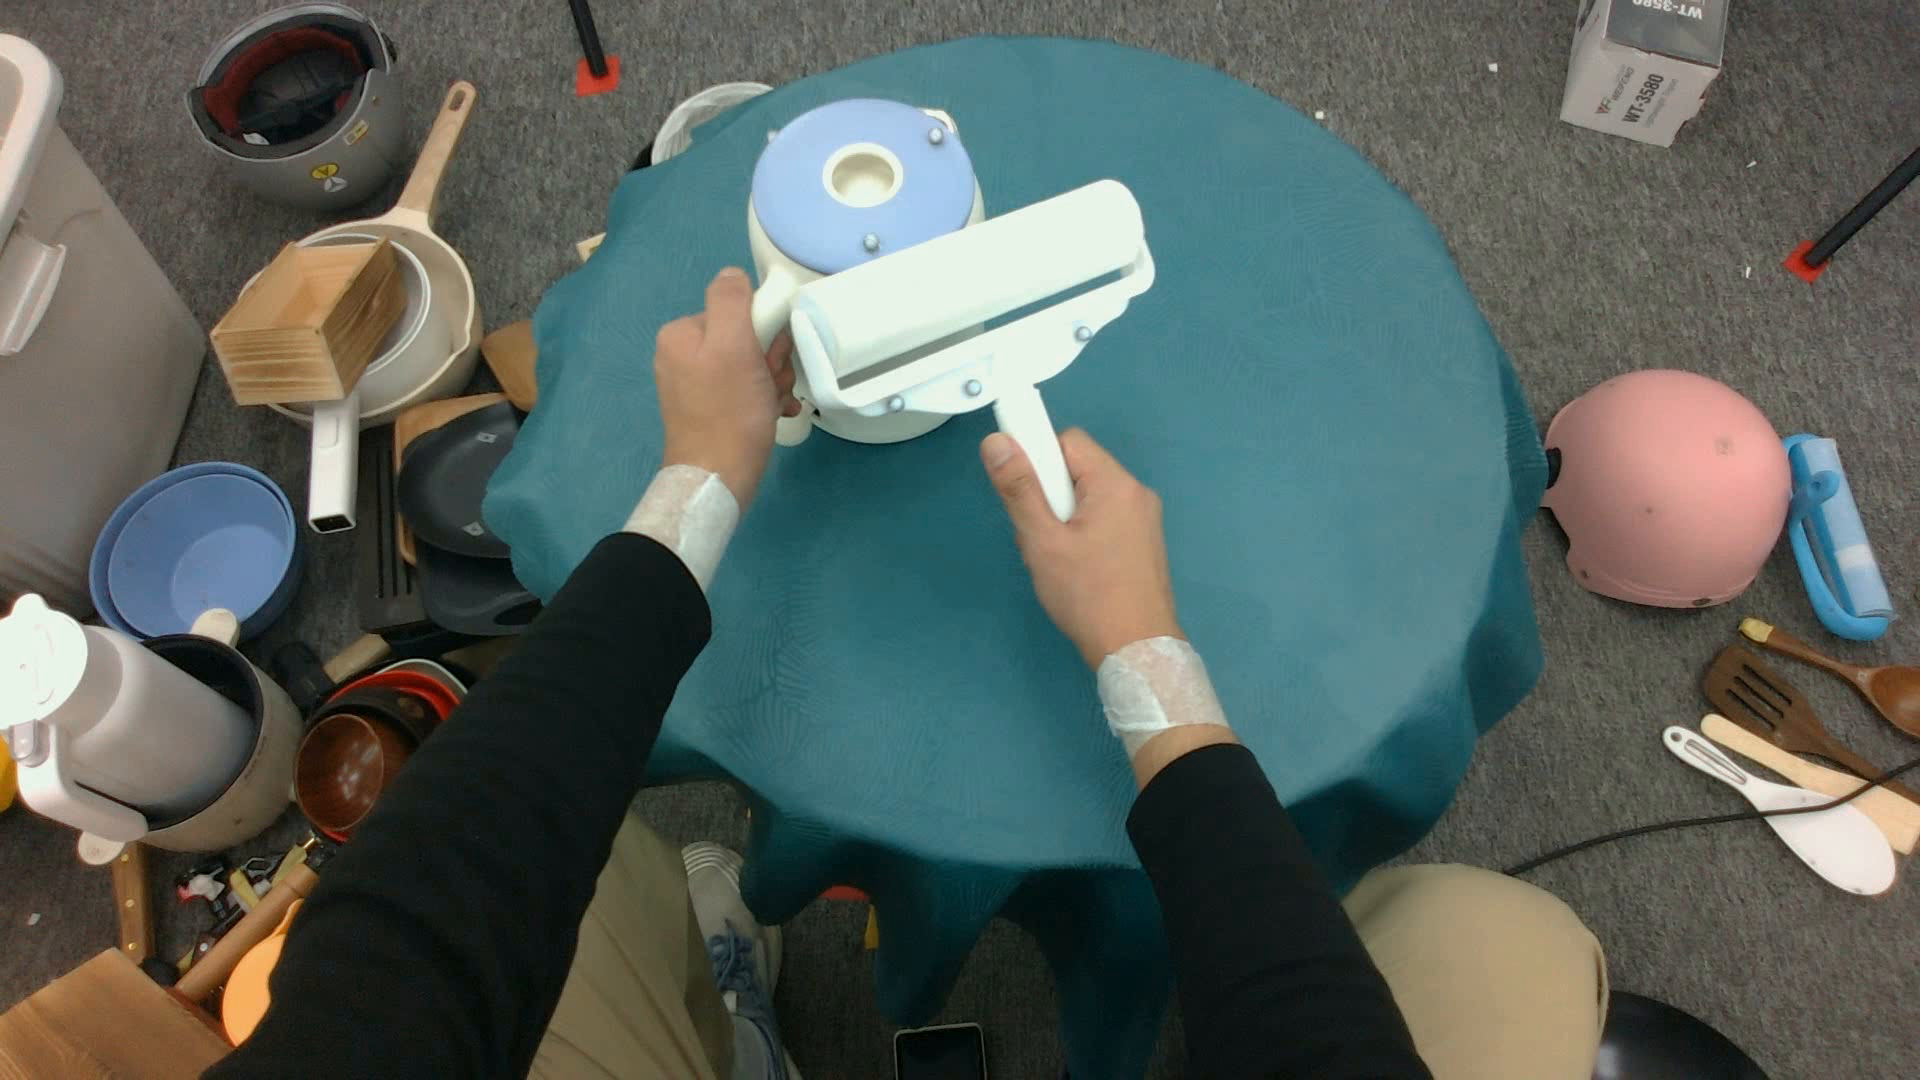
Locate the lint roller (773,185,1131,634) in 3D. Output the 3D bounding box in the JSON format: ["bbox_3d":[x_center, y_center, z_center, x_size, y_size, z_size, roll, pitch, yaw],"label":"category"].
[{"bbox_3d":[0.031,-0.054,0.718,0.203,0.048,0.225,-27,97,-28],"label":"lint roller"}]

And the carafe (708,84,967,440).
[{"bbox_3d":[-0.076,-0.142,0.792,0.132,0.182,0.192,34,70,16],"label":"carafe"}]
